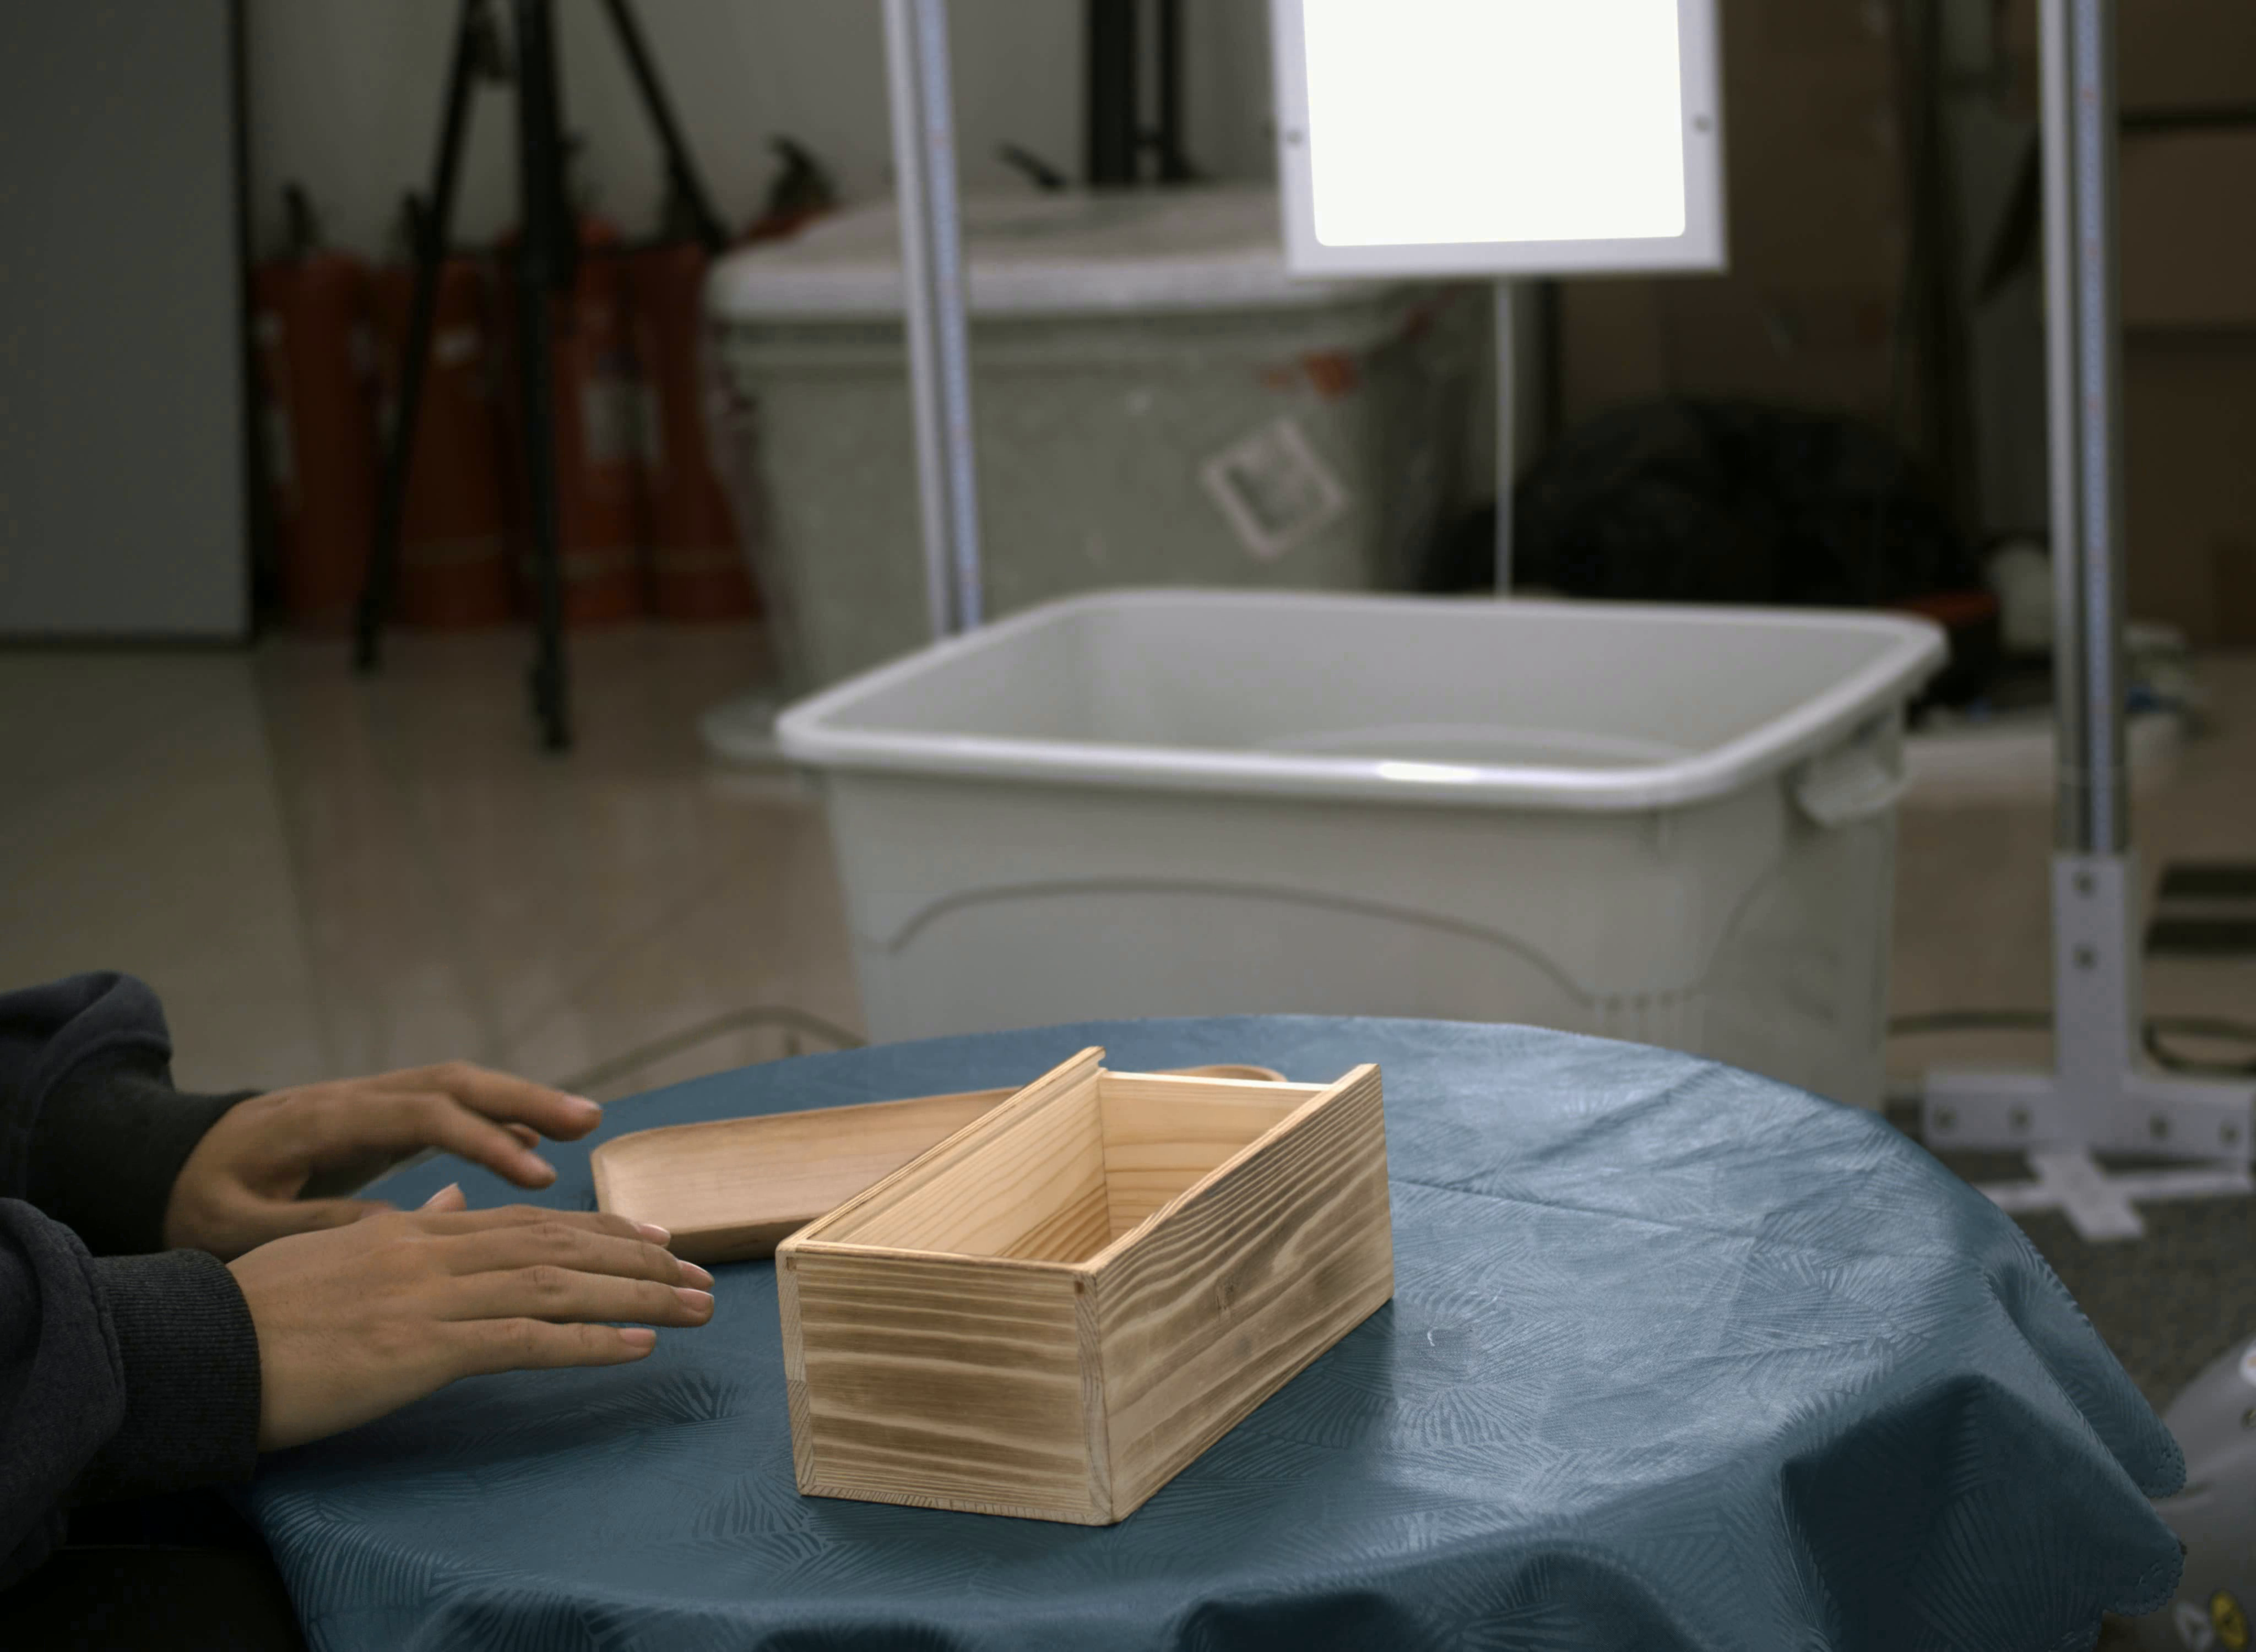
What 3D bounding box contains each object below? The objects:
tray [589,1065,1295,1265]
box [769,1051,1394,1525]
[{"bbox_3d":[-0.061,0.118,1.920,0.249,0.023,0.131,-7,11,-4],"label":"tray"},{"bbox_3d":[-0.010,0.137,1.690,0.109,0.080,0.207,2,15,27],"label":"box"}]
